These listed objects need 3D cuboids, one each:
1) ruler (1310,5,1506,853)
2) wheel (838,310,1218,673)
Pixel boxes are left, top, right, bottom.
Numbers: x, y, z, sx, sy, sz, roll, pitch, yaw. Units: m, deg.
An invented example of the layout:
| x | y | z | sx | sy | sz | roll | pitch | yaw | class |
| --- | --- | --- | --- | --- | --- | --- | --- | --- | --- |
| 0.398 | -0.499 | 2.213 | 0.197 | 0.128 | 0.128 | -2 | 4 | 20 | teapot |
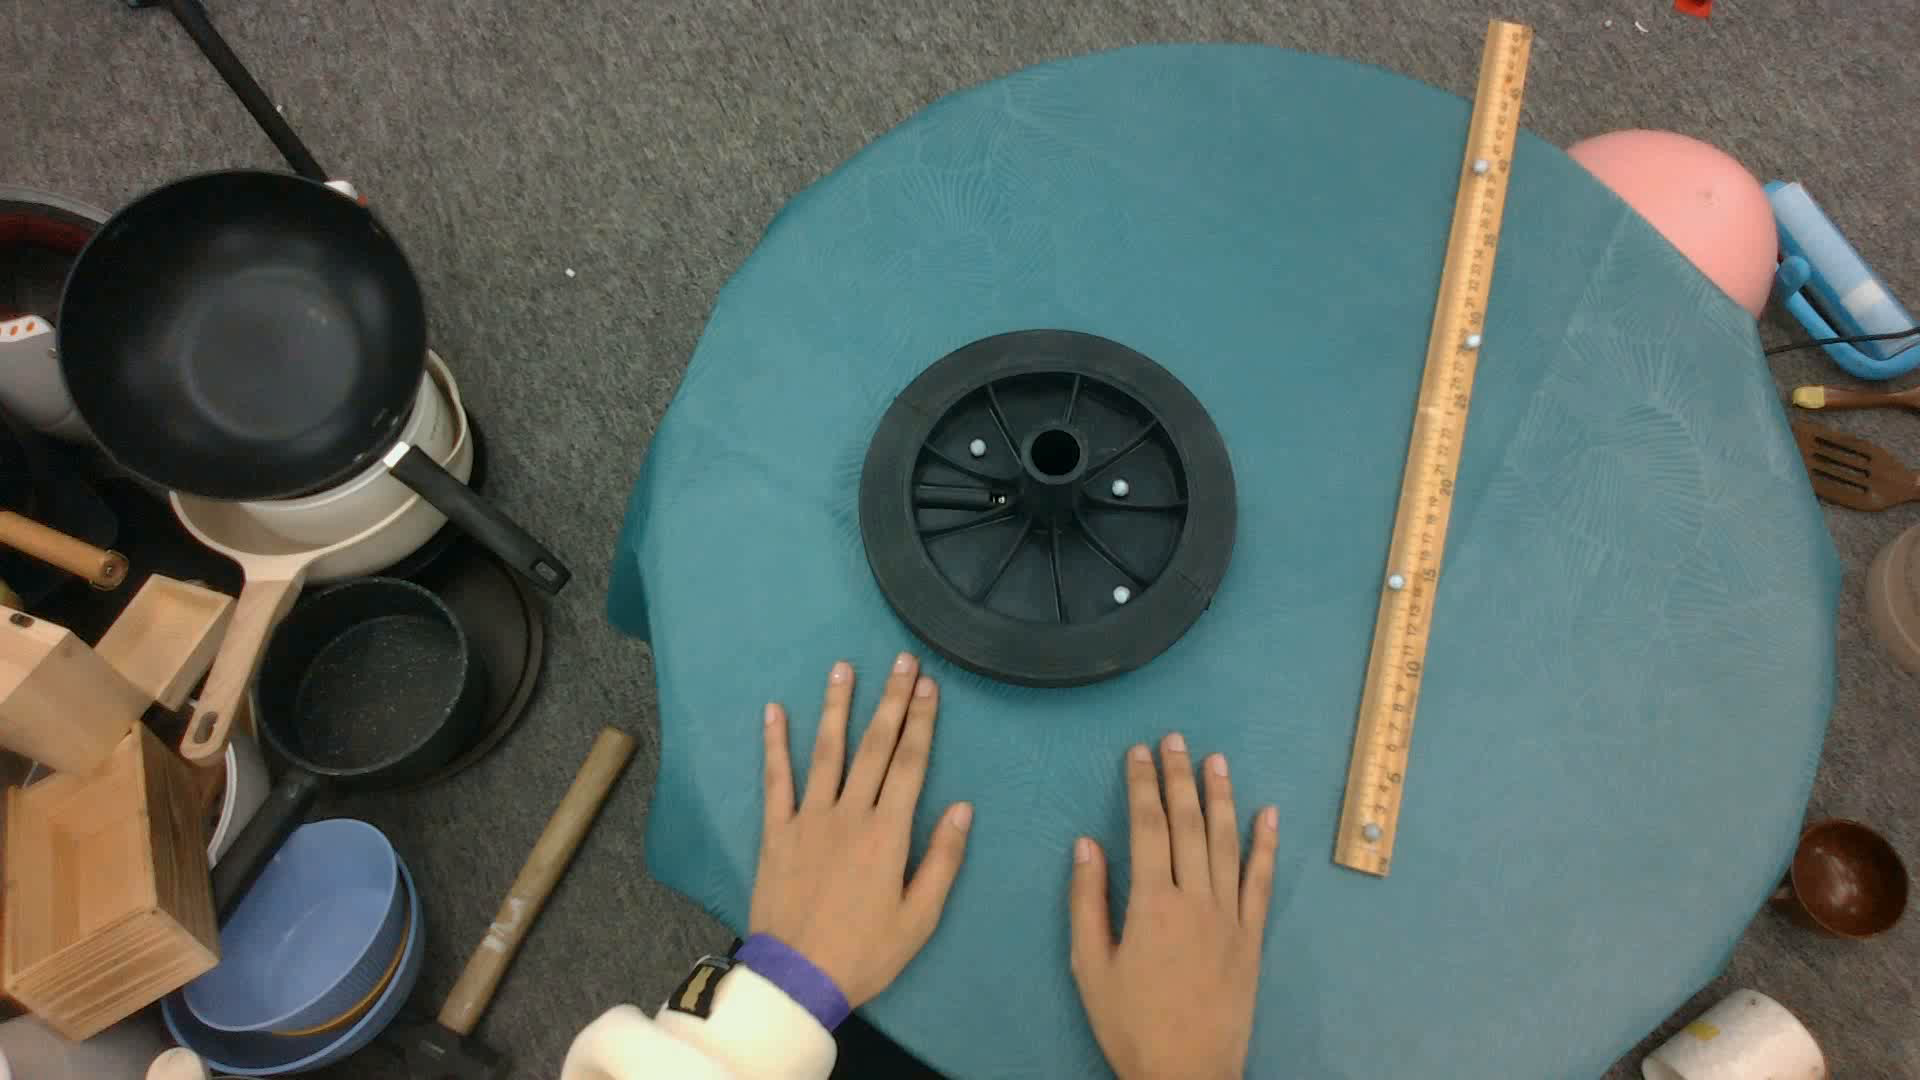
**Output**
| x | y | z | sx | sy | sz | roll | pitch | yaw | class |
| --- | --- | --- | --- | --- | --- | --- | --- | --- | --- |
| 0.242 | -0.083 | 0.724 | 0.027 | 0.006 | 0.502 | 15 | 71 | 3 | ruler |
| 0.034 | -0.034 | 0.665 | 0.190 | 0.079 | 0.188 | -19 | 72 | -7 | wheel |
